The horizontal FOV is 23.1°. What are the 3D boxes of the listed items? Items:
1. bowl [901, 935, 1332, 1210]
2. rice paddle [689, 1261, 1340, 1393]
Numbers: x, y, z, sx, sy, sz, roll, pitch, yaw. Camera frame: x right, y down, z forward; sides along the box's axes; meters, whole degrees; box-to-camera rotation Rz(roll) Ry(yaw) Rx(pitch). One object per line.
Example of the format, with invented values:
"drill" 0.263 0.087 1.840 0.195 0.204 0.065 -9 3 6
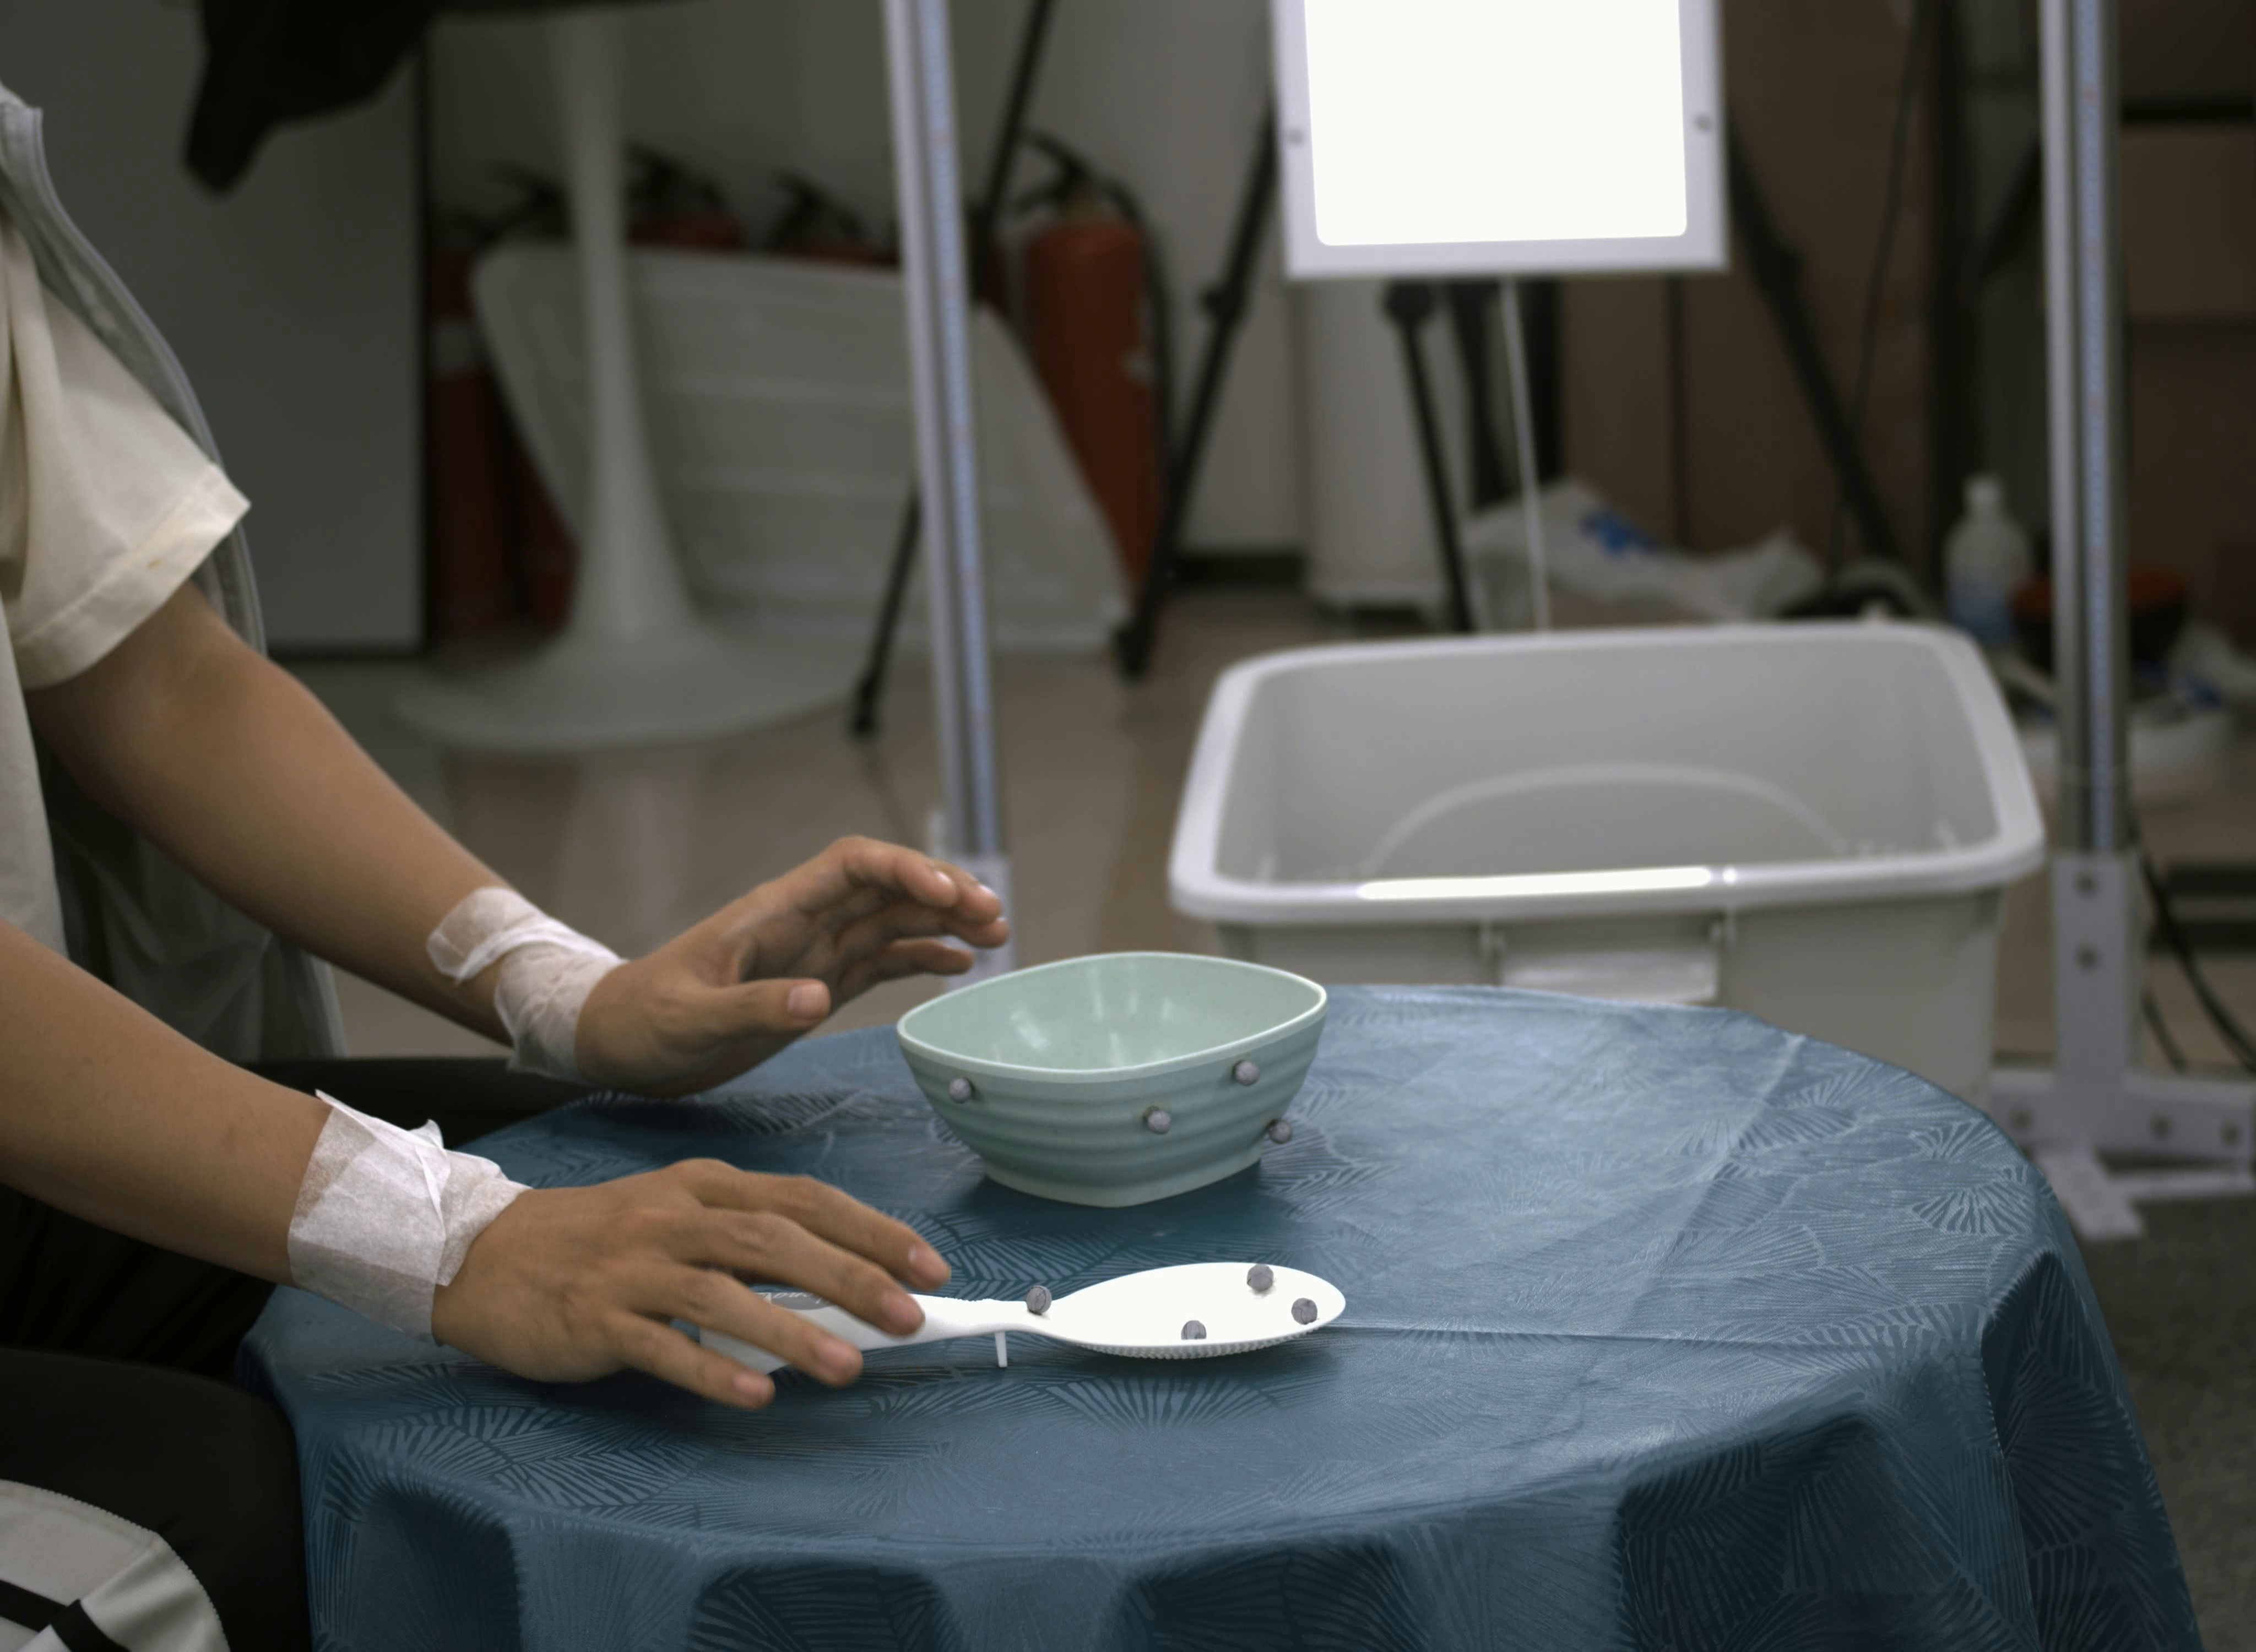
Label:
"bowl" -0.002 0.089 1.922 0.151 0.059 0.151 -5 17 0
"rice paddle" -0.035 0.154 1.733 0.205 0.029 0.068 -5 15 2
